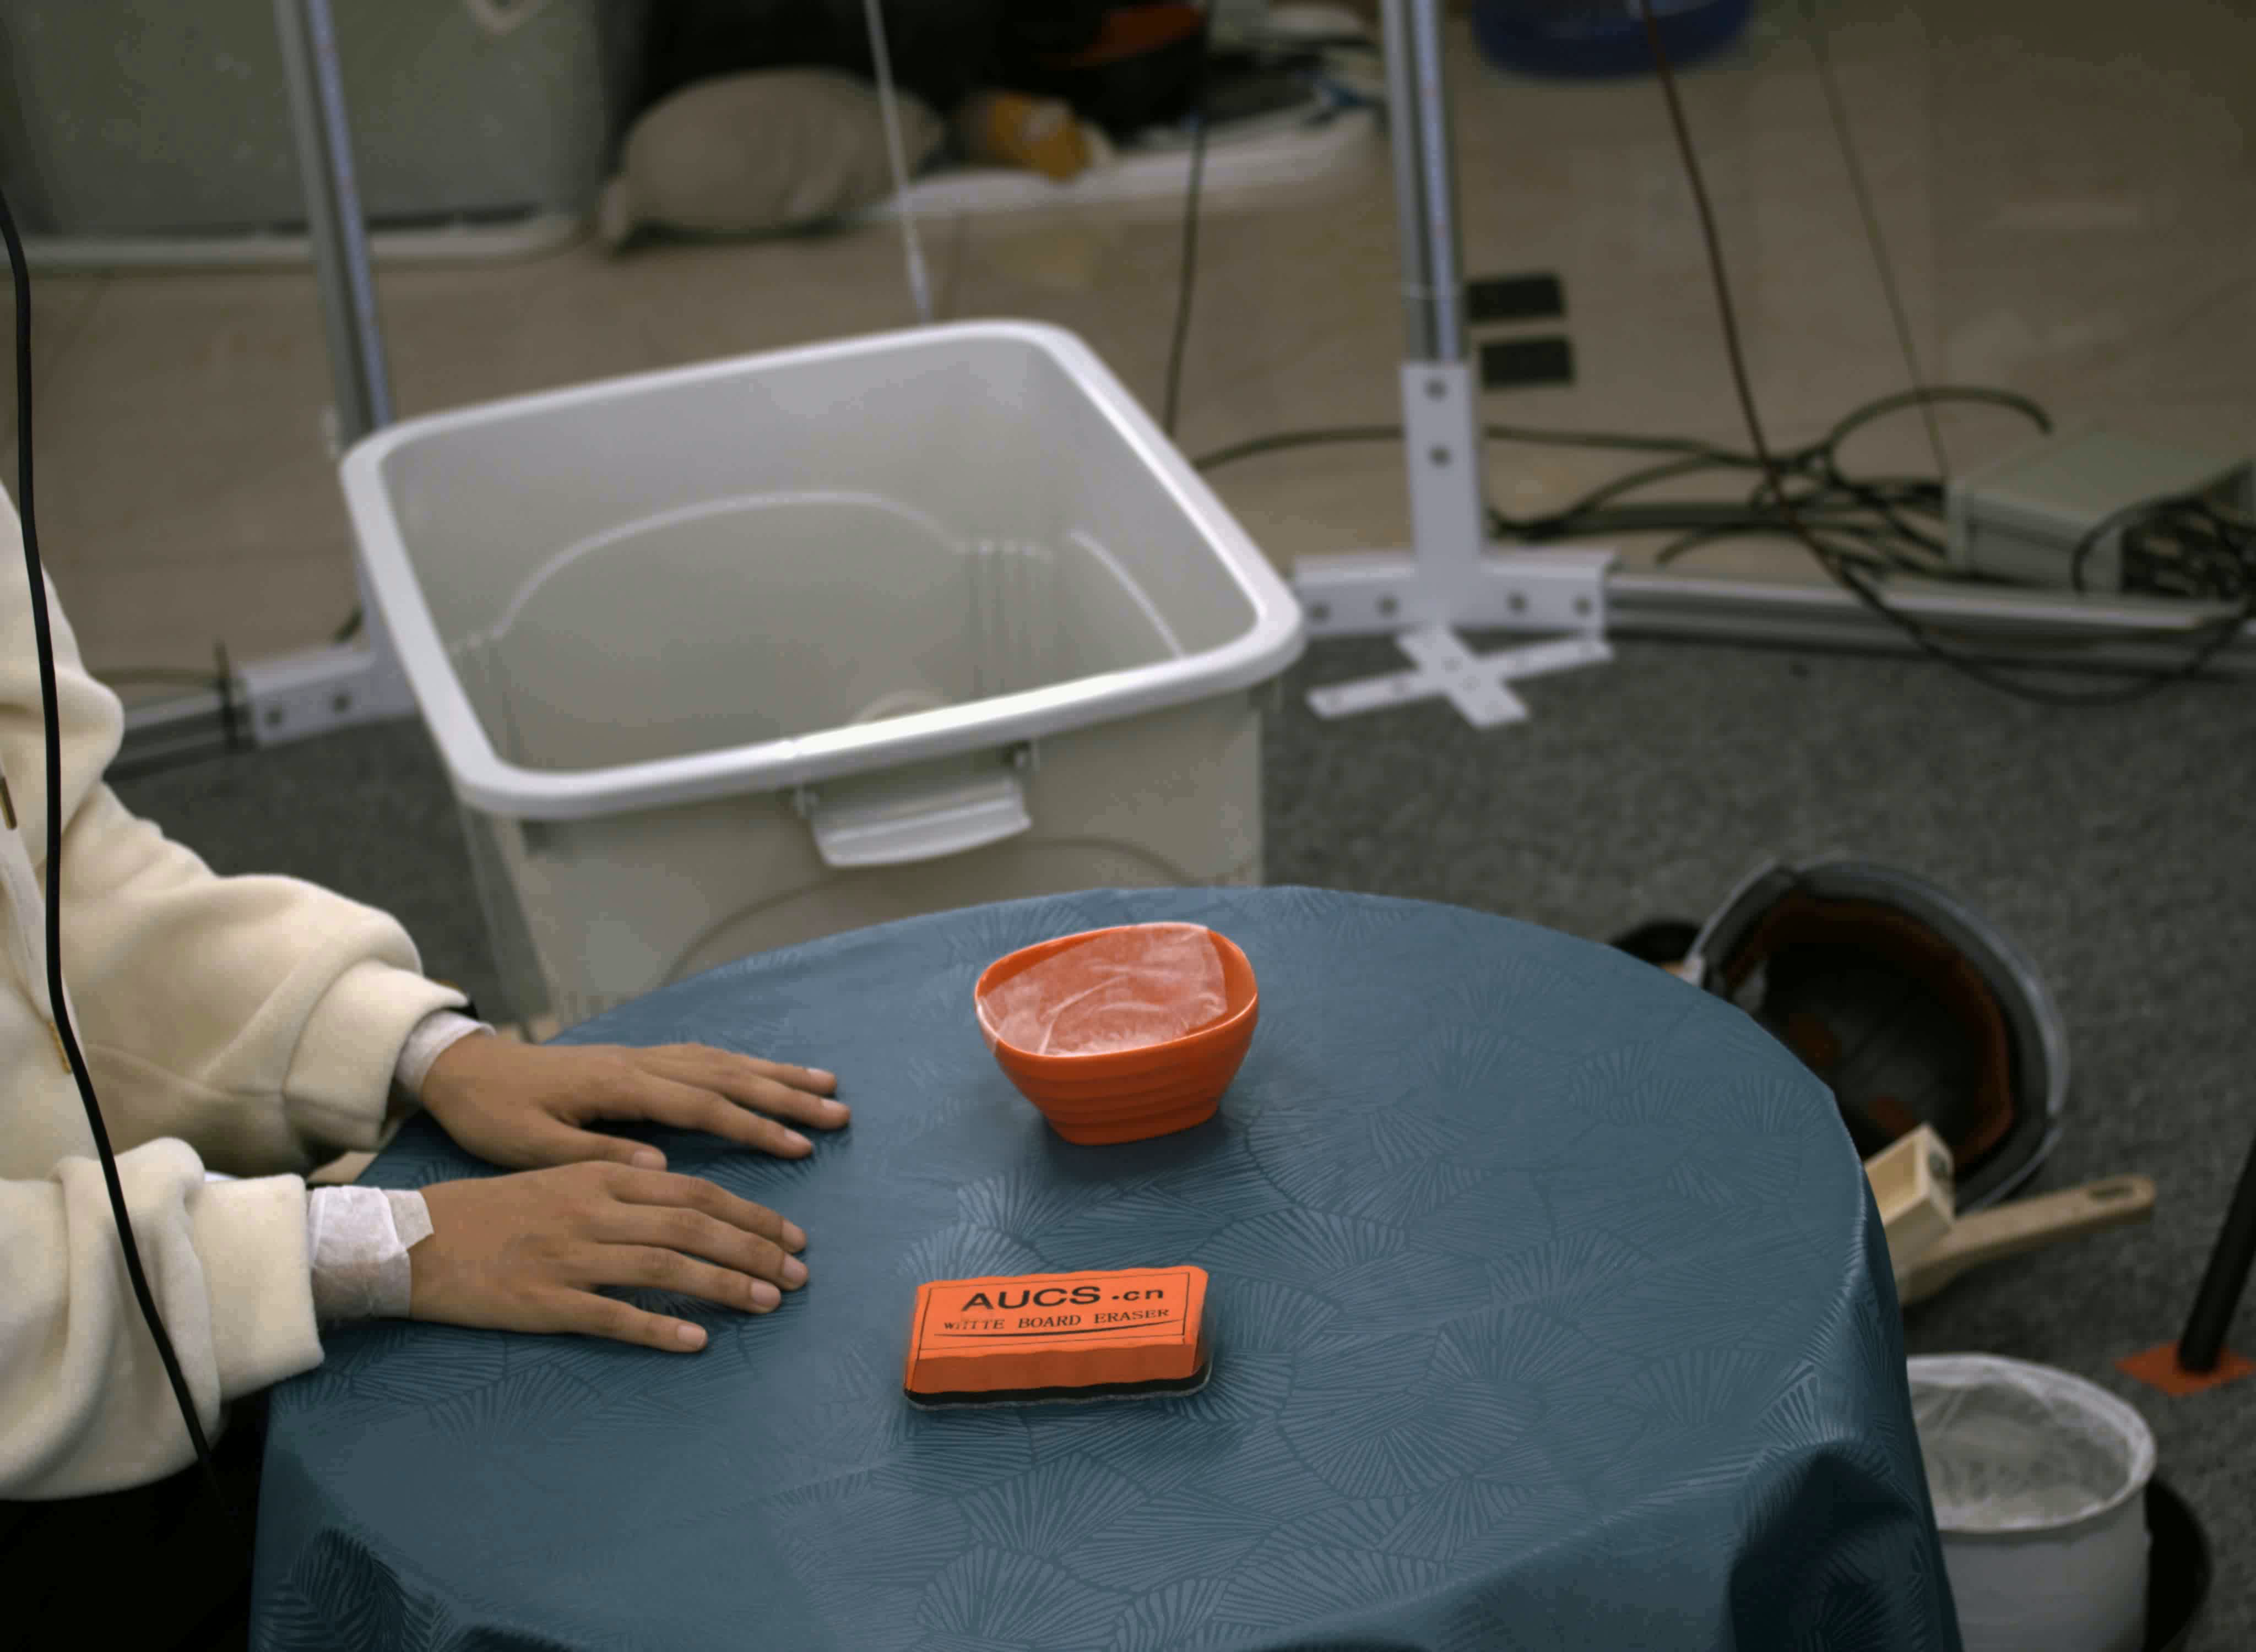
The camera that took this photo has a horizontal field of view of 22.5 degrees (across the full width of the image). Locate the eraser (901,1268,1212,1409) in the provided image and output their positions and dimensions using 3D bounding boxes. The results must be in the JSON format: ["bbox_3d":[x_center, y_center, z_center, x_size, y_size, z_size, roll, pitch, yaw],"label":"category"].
[{"bbox_3d":[-0.025,0.183,2.032,0.108,0.023,0.058,-3,28,7],"label":"eraser"}]

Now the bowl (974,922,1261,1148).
[{"bbox_3d":[-0.002,0.086,2.203,0.119,0.052,0.117,-6,26,3],"label":"bowl"}]
